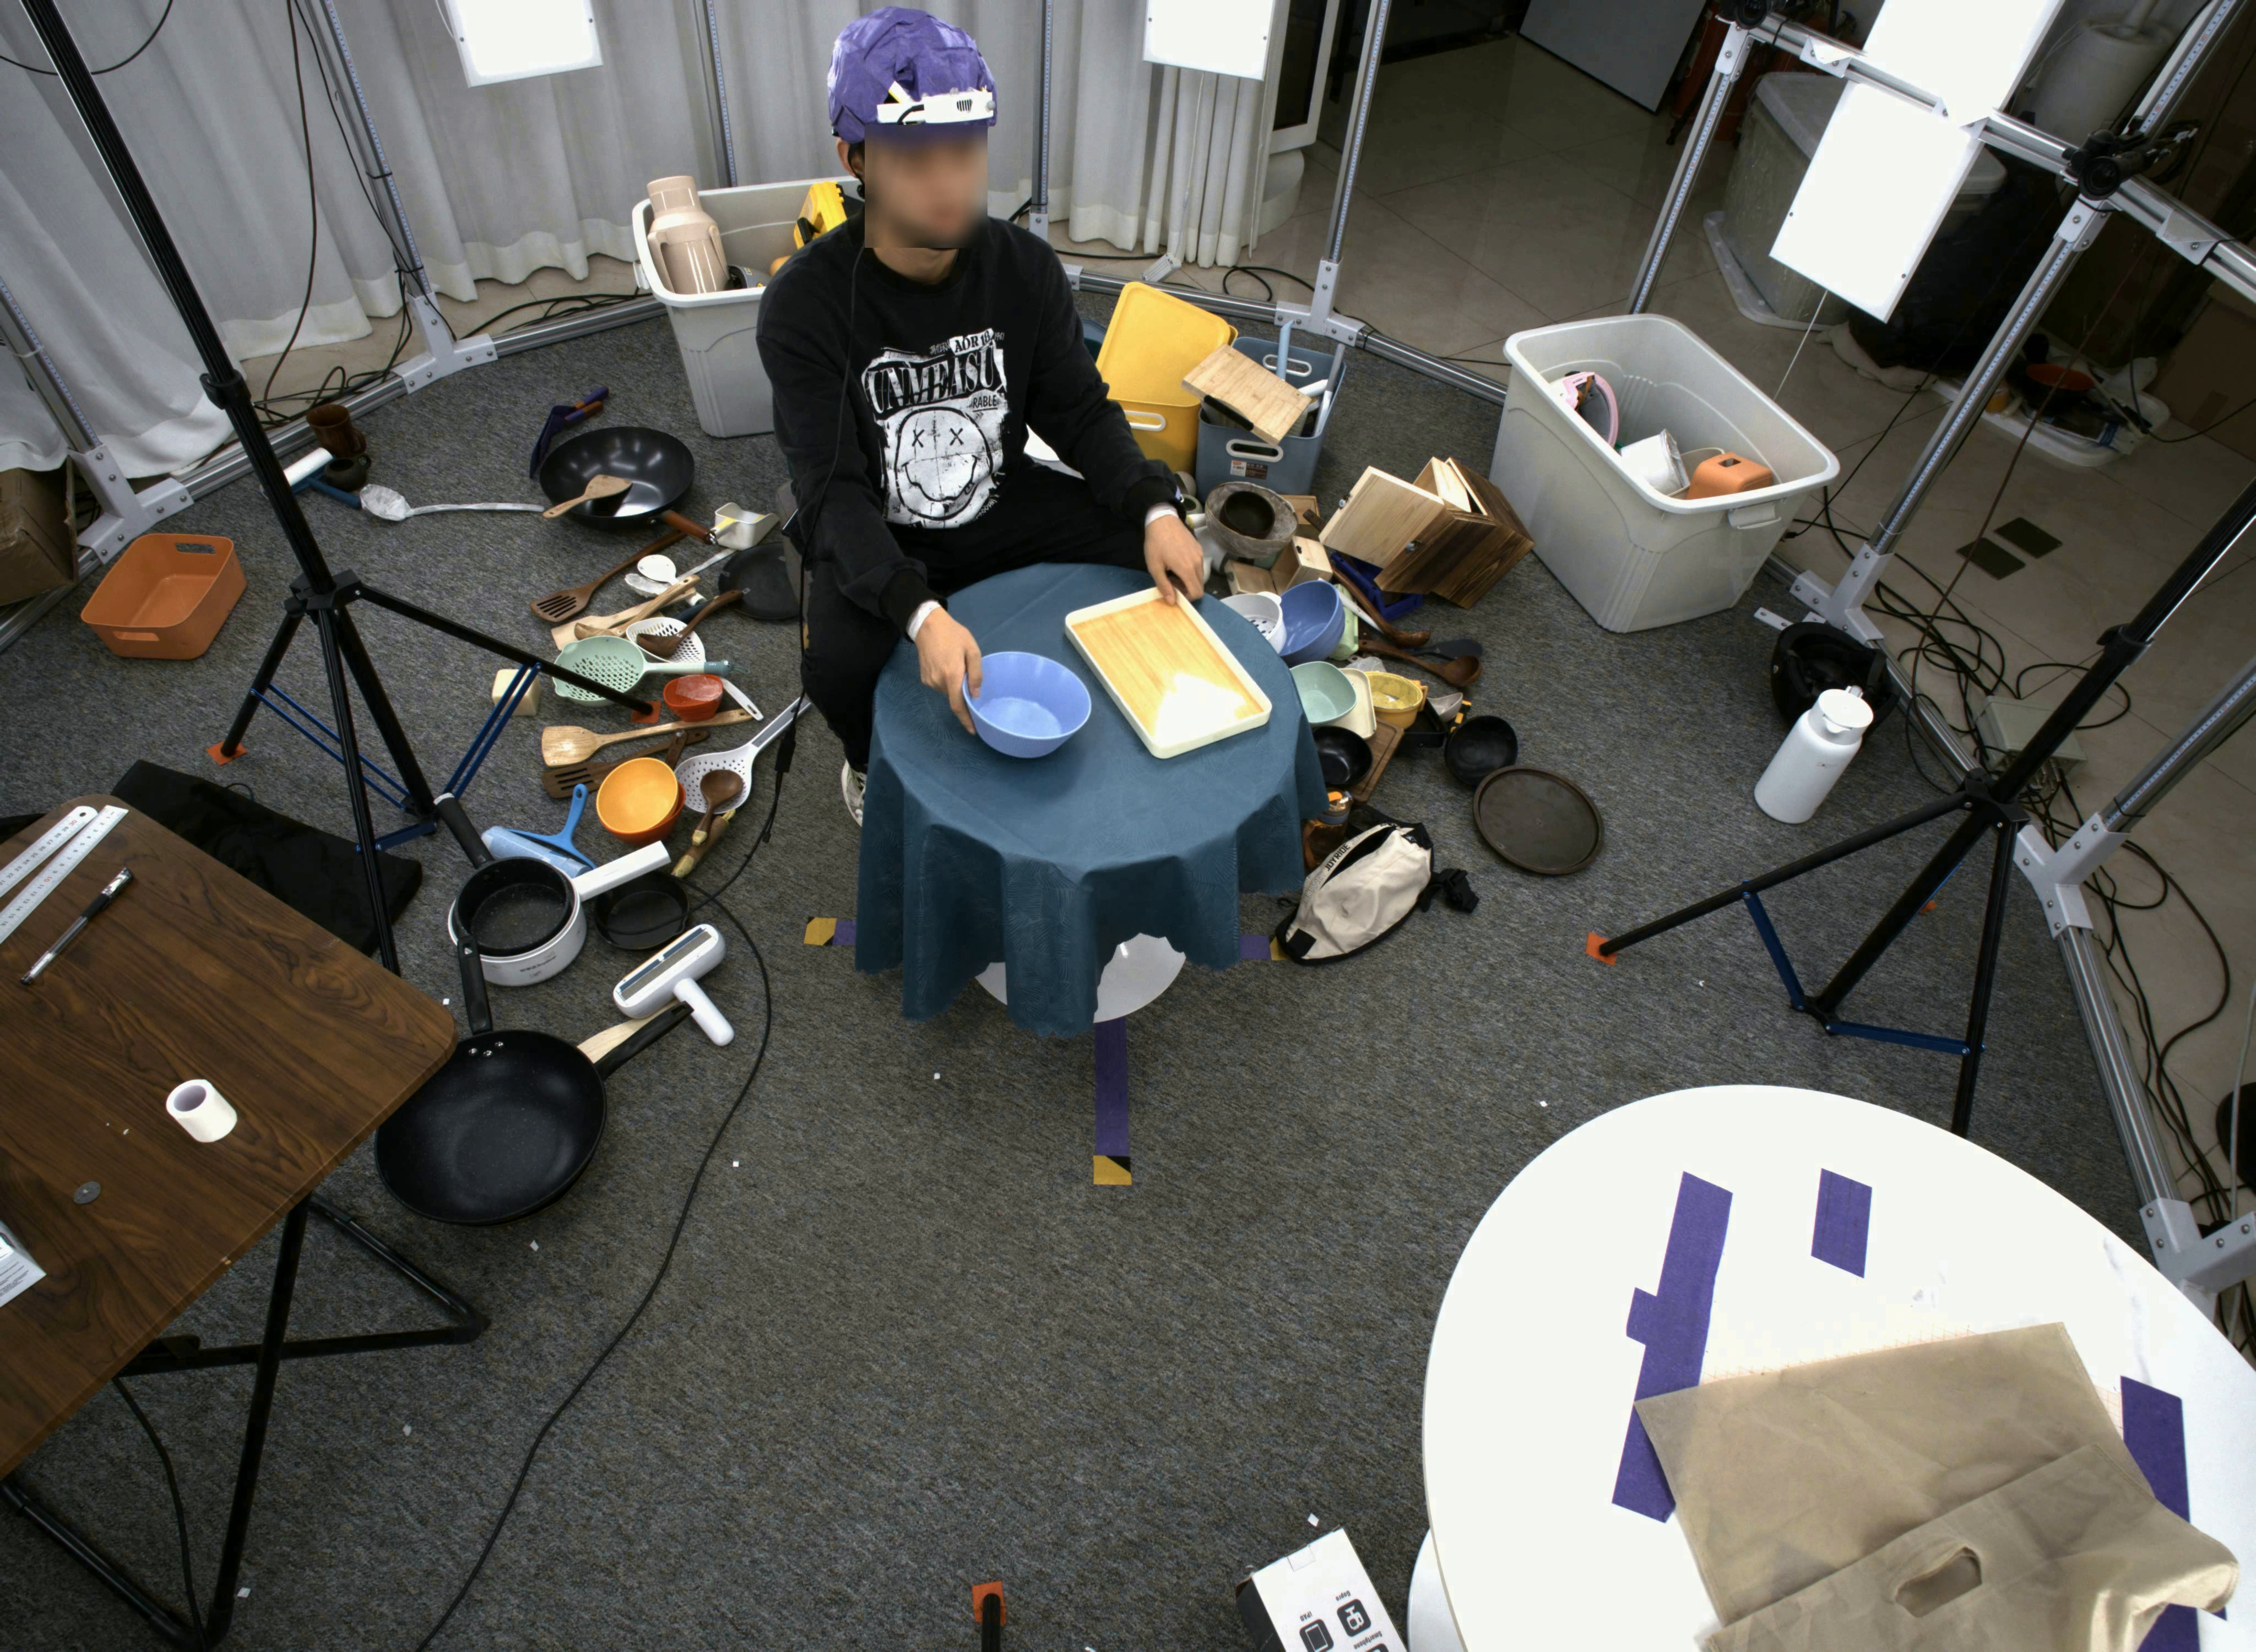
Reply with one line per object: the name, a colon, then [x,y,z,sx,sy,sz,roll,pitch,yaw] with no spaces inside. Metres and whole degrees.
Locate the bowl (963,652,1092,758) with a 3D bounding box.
bowl: [-0.141,-0.156,1.753,0.175,0.069,0.180,9,45,-9]

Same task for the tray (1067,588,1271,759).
tray: [0.055,-0.228,1.870,0.192,0.027,0.307,-20,53,-20]
